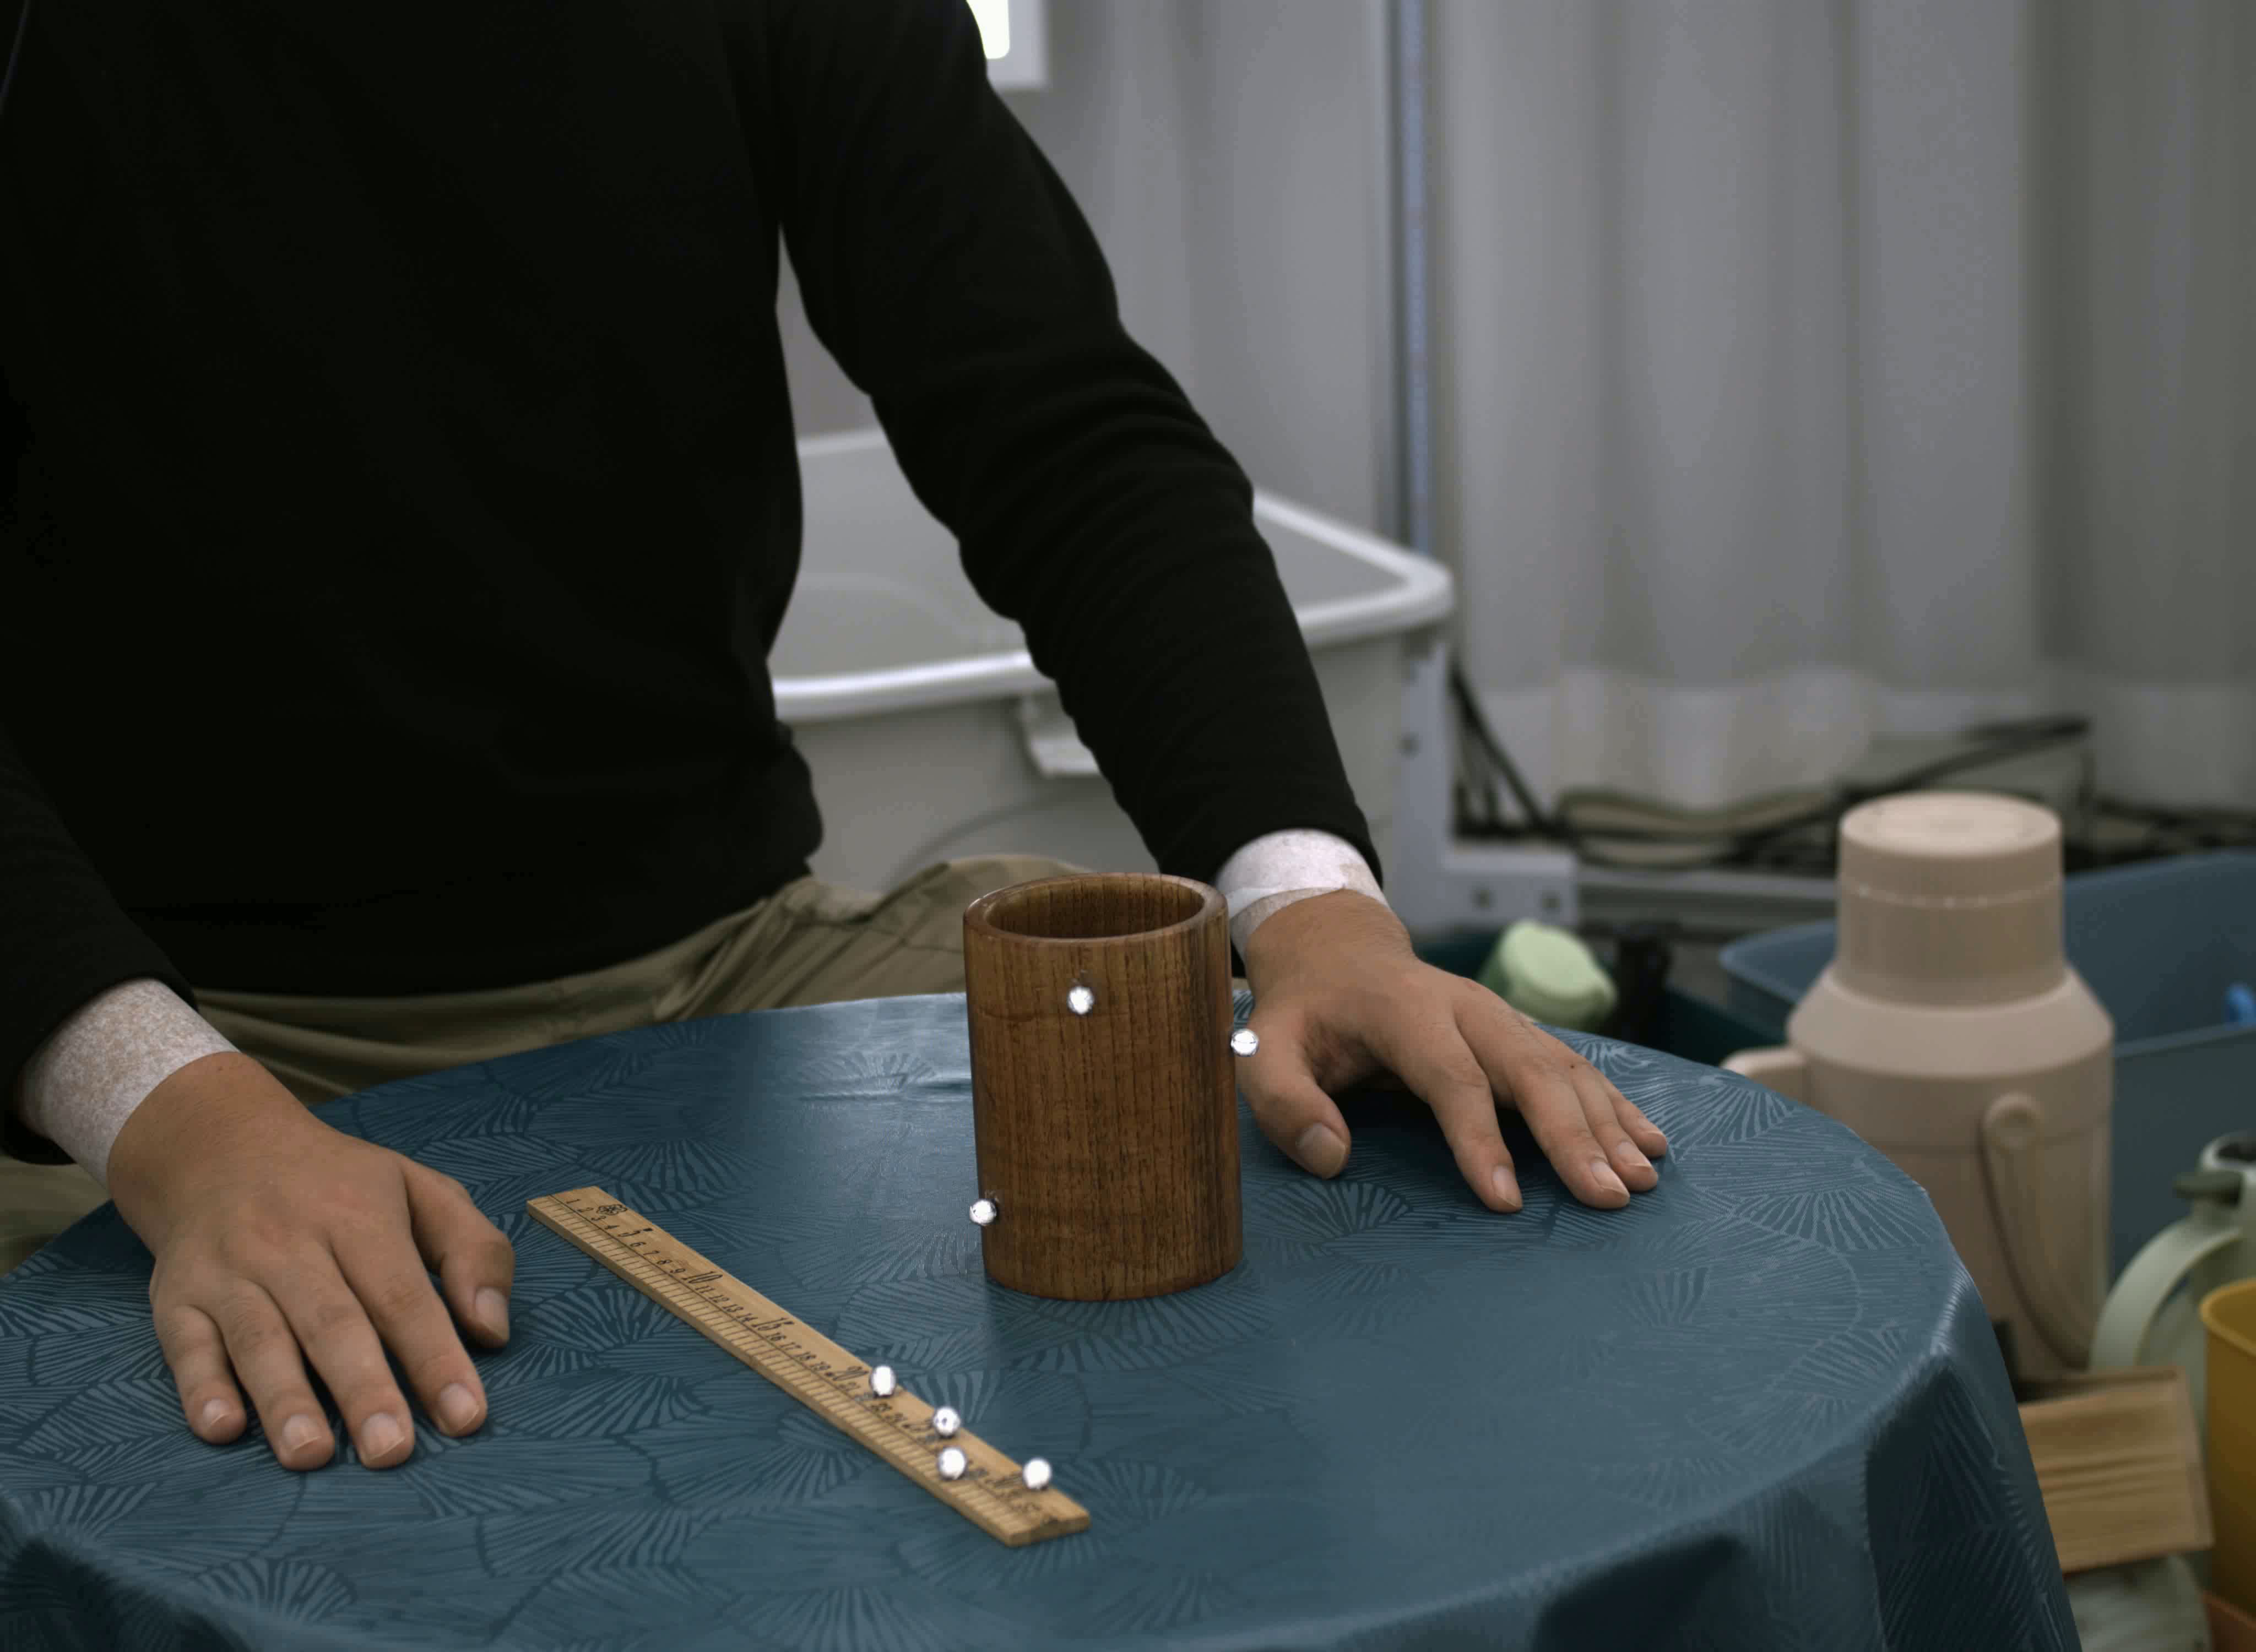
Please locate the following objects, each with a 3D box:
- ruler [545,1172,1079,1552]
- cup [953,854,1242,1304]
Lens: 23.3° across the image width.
[{"bbox_3d":[-0.099,0.149,1.585,0.027,0.022,0.334,-5,15,-26],"label":"ruler"},{"bbox_3d":[-0.008,0.075,1.639,0.087,0.118,0.088,-2,13,0],"label":"cup"}]
